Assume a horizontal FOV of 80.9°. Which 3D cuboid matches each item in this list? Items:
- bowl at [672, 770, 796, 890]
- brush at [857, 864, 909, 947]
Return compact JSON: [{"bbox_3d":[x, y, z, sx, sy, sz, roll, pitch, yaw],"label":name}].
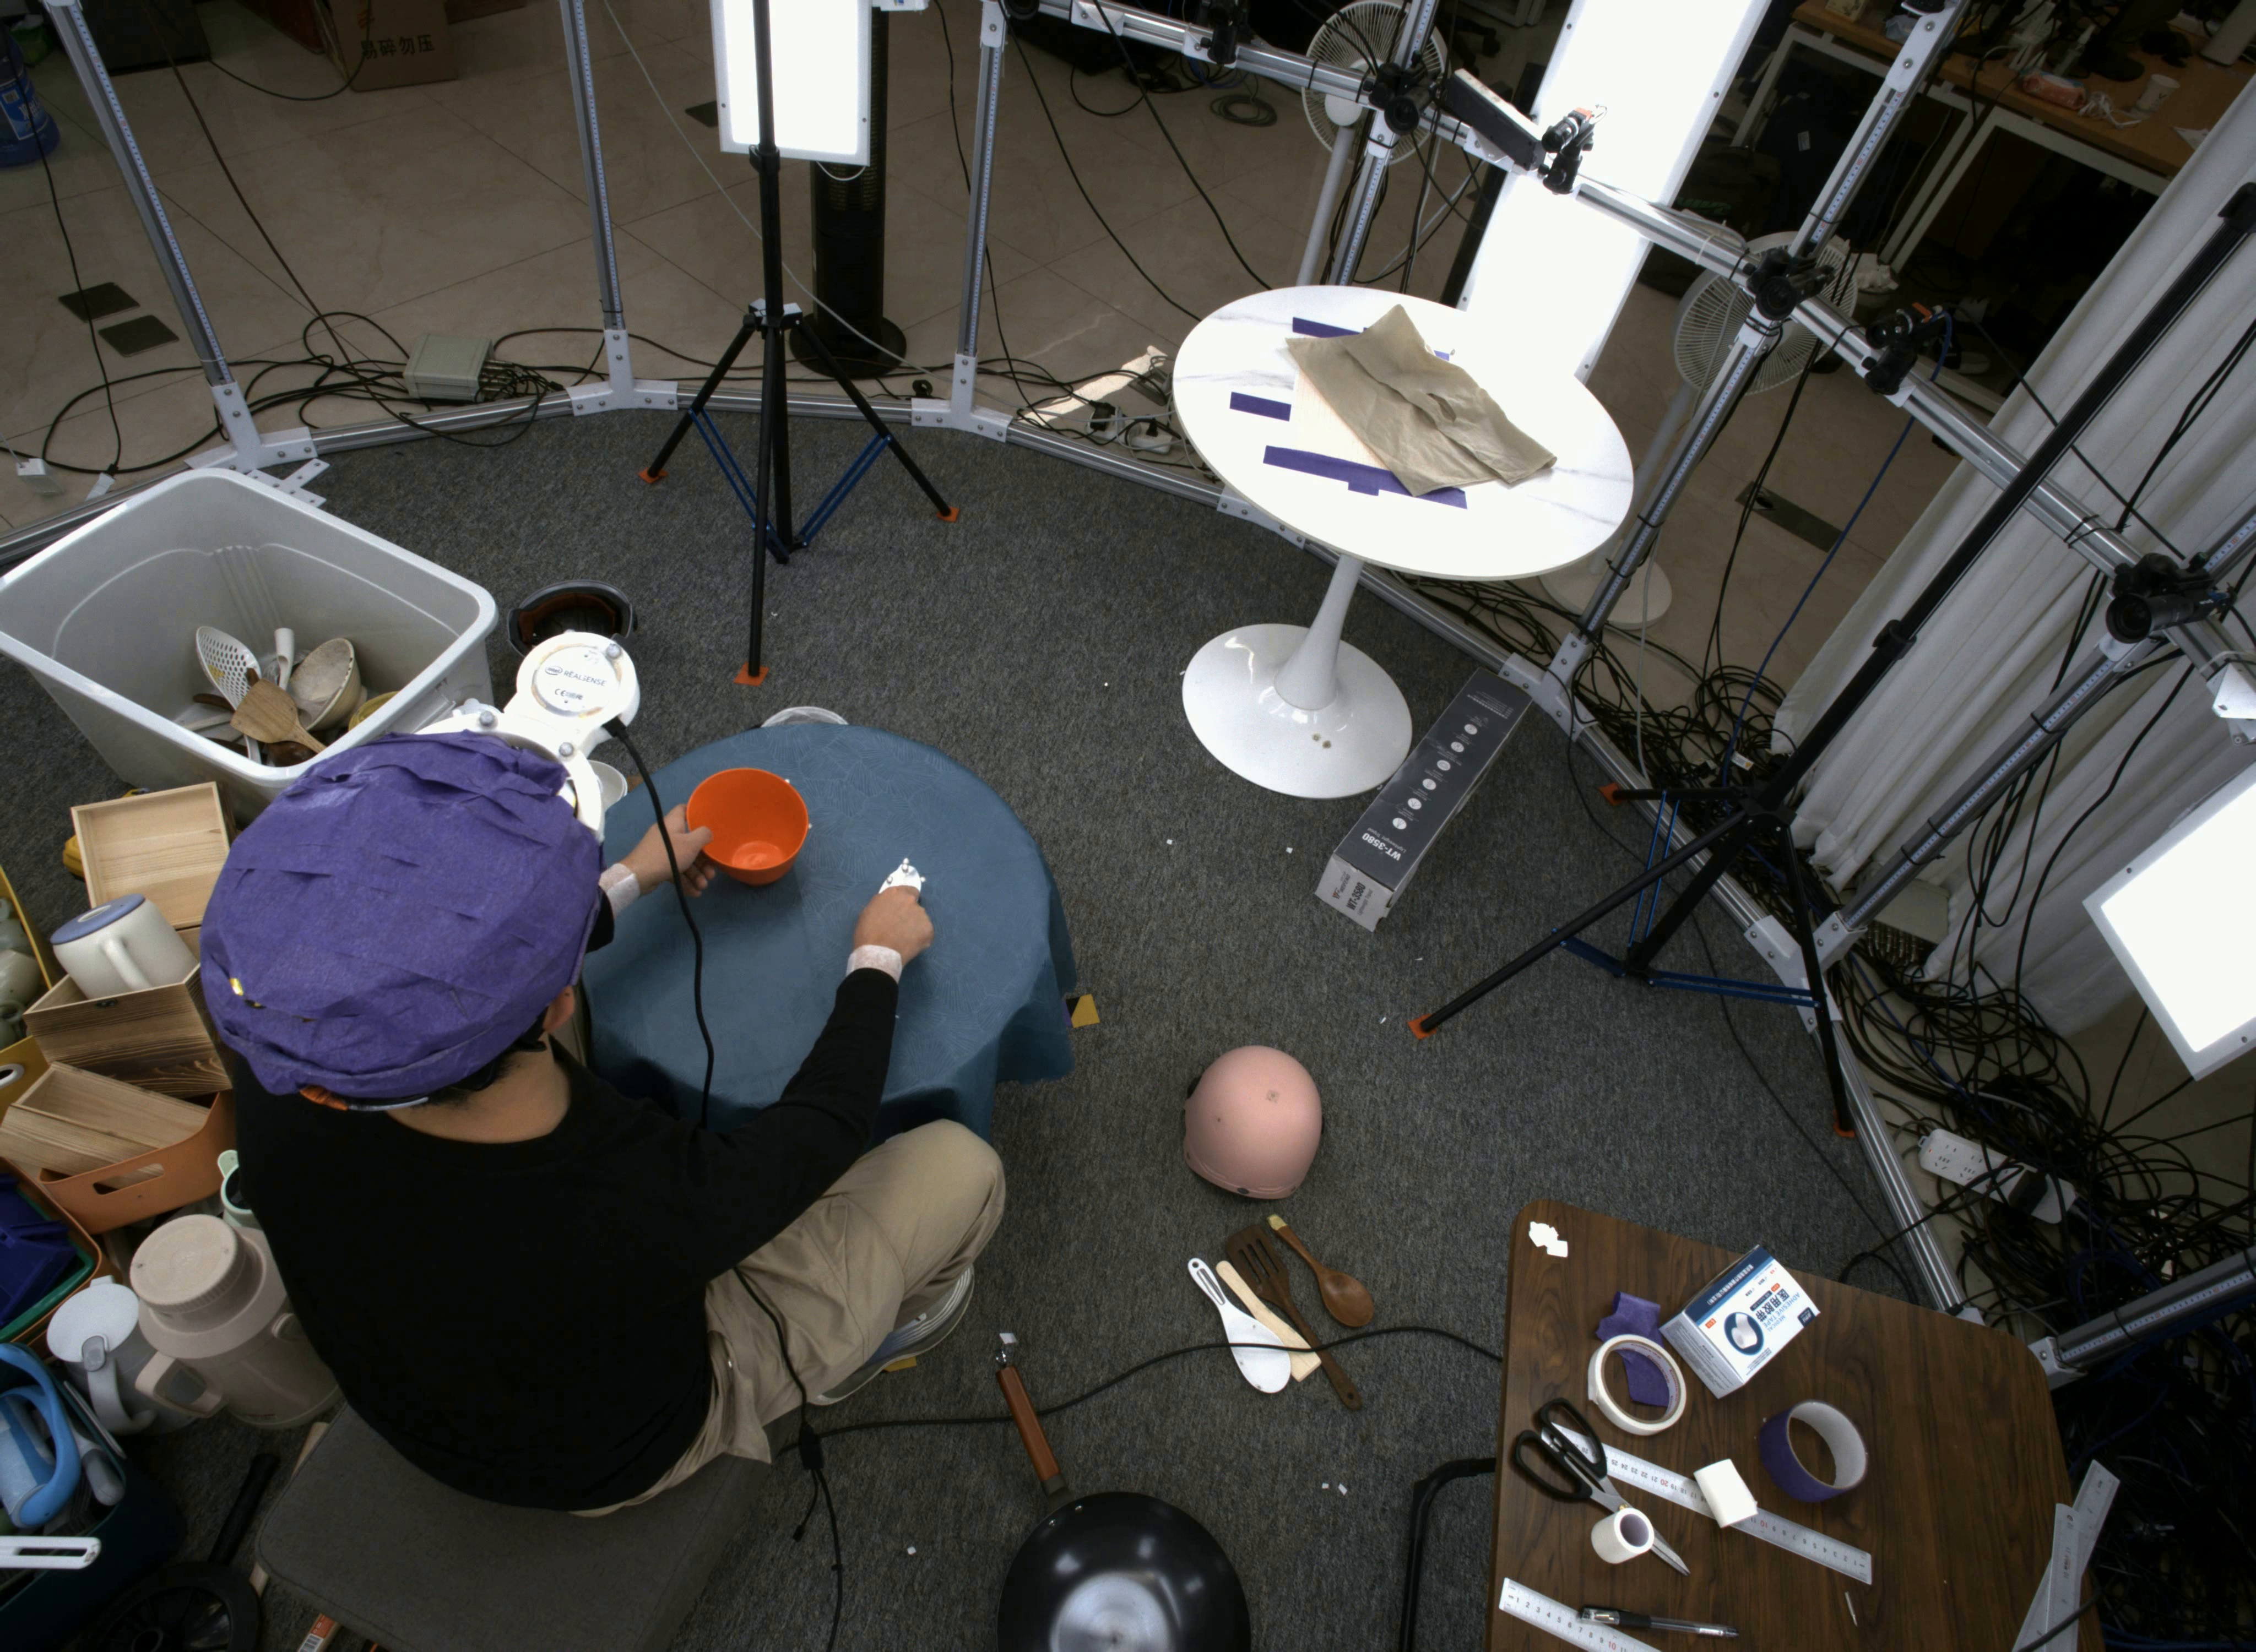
[{"bbox_3d":[-0.492,0.016,1.626,0.148,0.107,0.145,7,54,-8],"label":"bowl"},{"bbox_3d":[-0.306,0.091,1.633,0.050,0.074,0.098,19,49,1],"label":"brush"}]
